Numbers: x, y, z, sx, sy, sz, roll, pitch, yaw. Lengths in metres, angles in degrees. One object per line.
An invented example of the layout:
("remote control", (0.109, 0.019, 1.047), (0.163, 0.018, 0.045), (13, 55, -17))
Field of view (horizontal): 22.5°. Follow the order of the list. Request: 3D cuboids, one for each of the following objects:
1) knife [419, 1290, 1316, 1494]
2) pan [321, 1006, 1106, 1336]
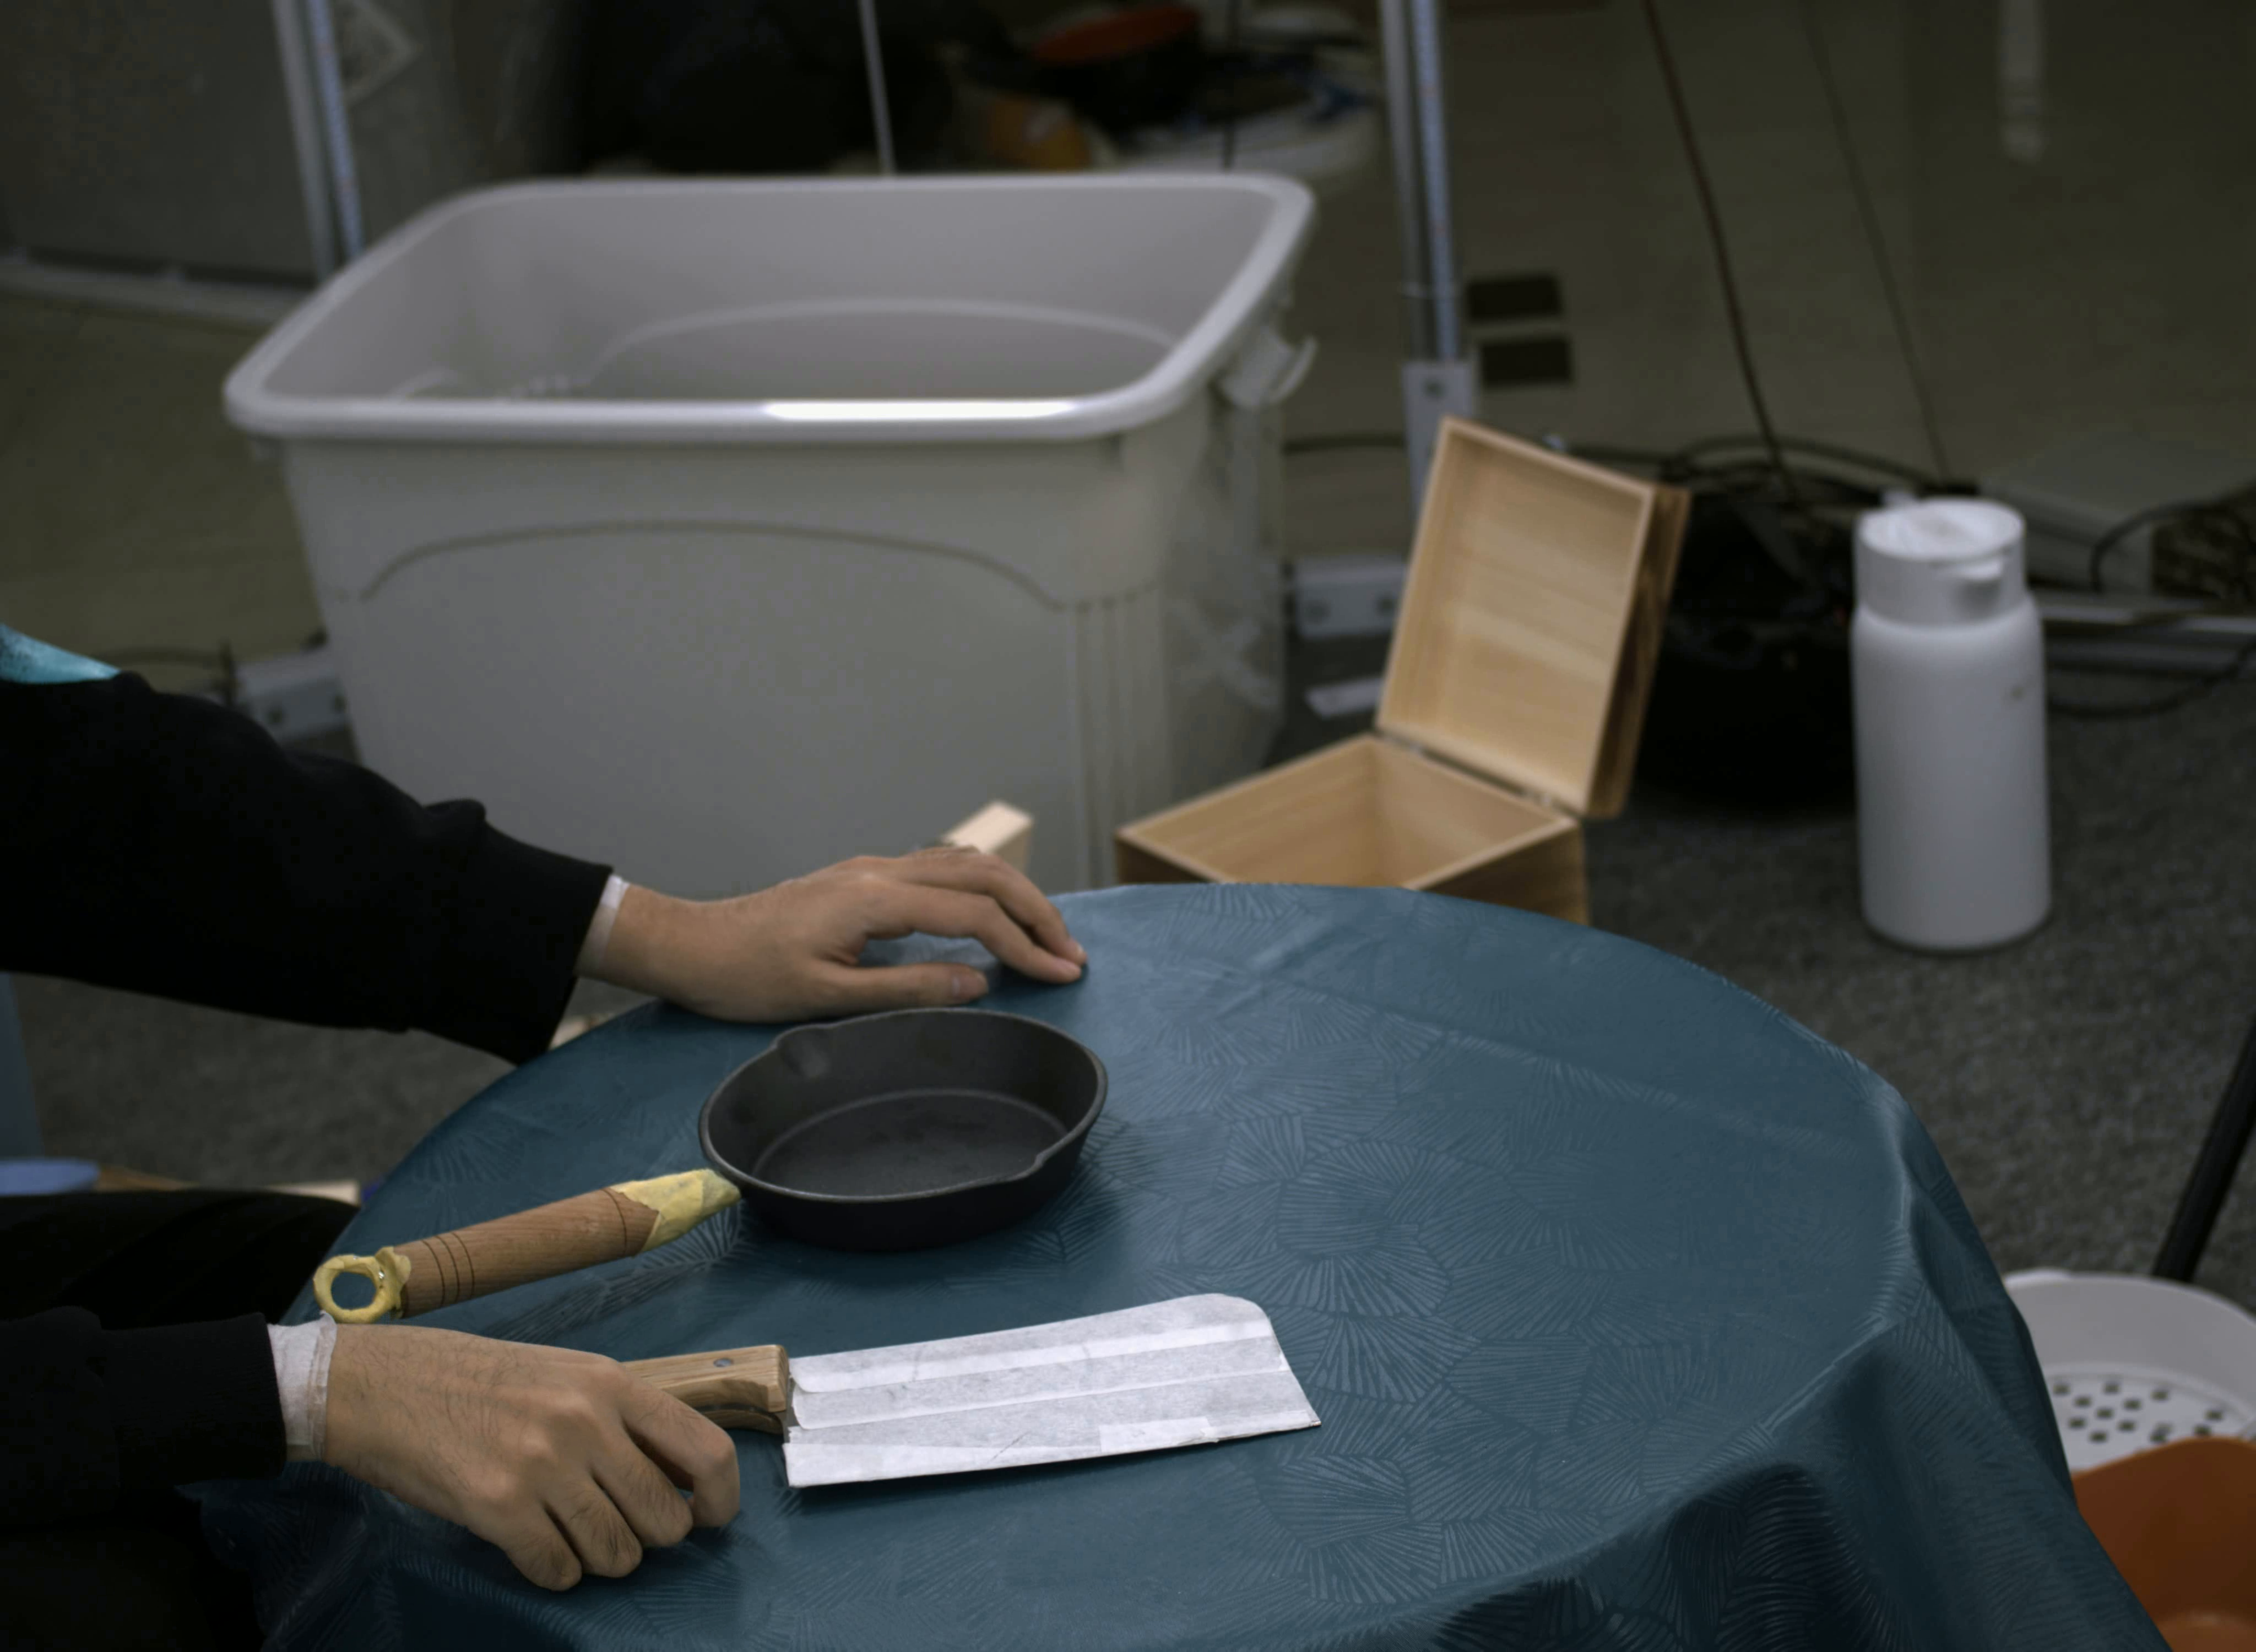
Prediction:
("knife", (-0.093, 0.203, 2.011), (0.315, 0.022, 0.112), (-5, 25, -3))
("pan", (-0.155, 0.138, 2.128), (0.322, 0.050, 0.167), (-19, 28, -28))
